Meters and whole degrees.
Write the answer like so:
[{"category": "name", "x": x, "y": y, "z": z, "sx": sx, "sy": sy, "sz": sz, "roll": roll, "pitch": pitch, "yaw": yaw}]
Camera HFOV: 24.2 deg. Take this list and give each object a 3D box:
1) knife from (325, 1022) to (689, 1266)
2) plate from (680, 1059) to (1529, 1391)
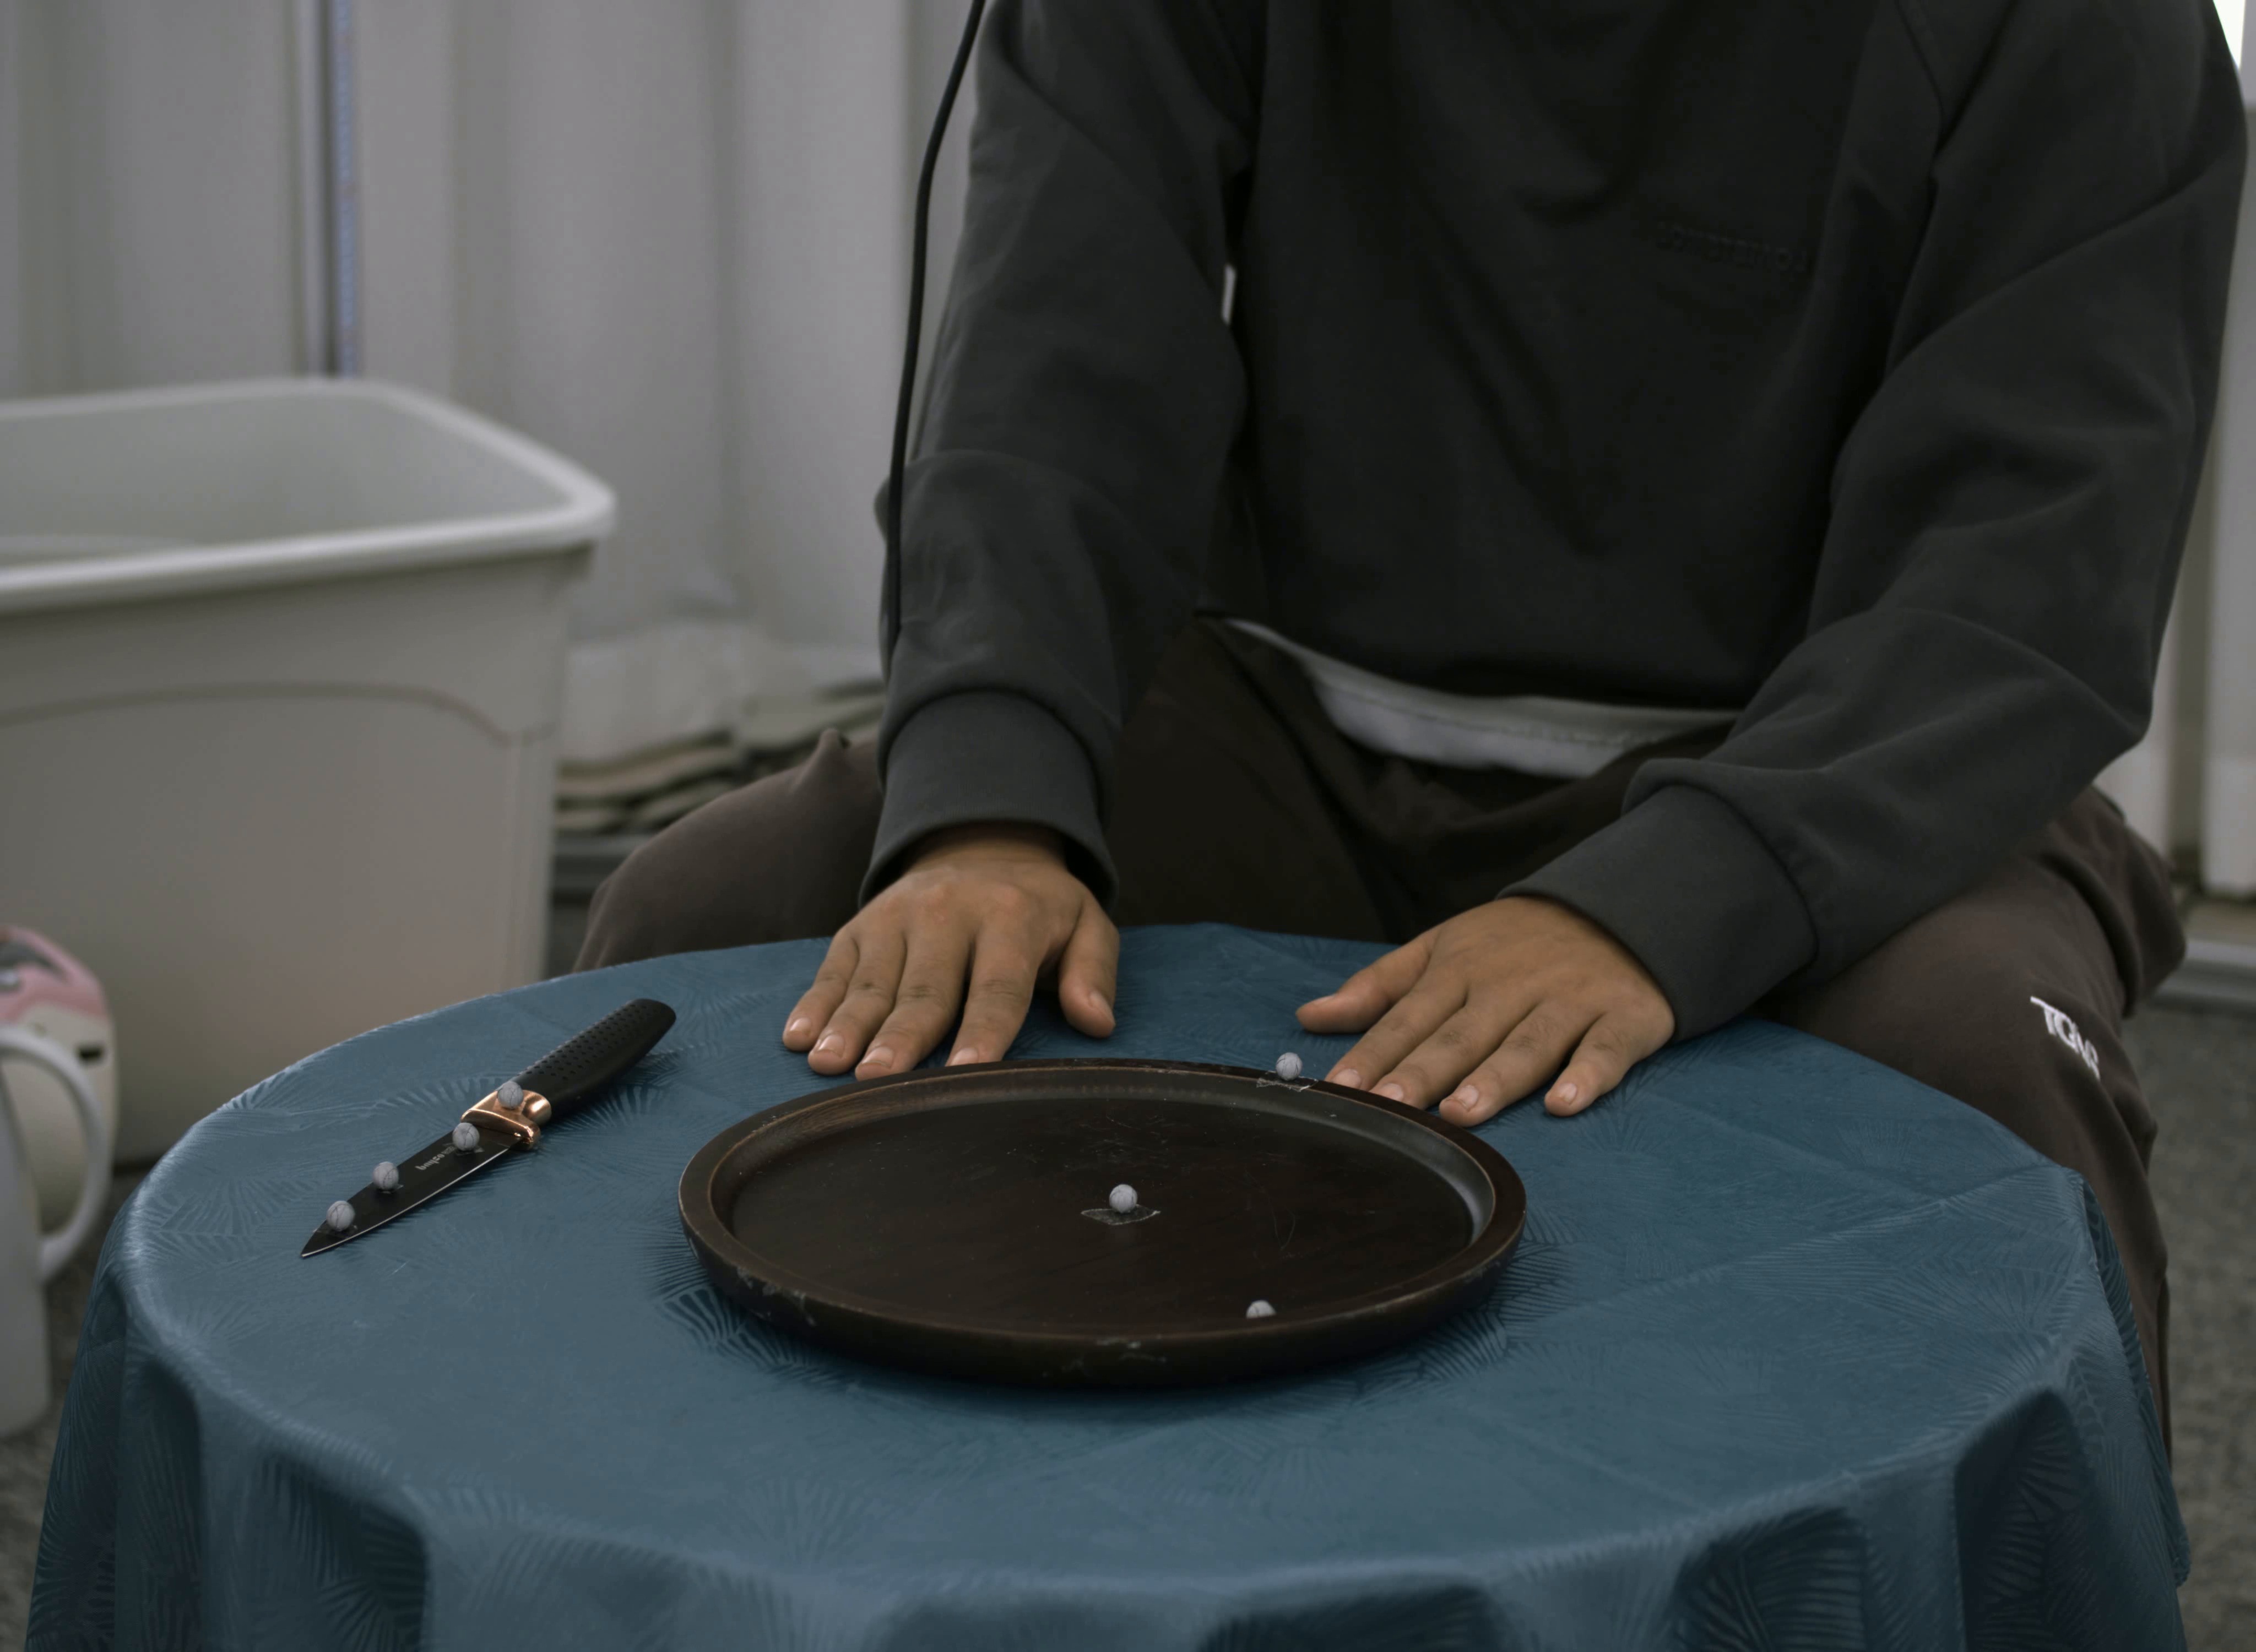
[{"category": "knife", "x": -0.196, "y": 0.098, "z": 1.649, "sx": 0.026, "sy": 0.017, "sz": 0.226, "roll": 13, "pitch": 20, "yaw": 21}, {"category": "plate", "x": -0.007, "y": 0.116, "z": 1.569, "sx": 0.254, "sy": 0.029, "sz": 0.253, "roll": 0, "pitch": 14, "yaw": 0}]
